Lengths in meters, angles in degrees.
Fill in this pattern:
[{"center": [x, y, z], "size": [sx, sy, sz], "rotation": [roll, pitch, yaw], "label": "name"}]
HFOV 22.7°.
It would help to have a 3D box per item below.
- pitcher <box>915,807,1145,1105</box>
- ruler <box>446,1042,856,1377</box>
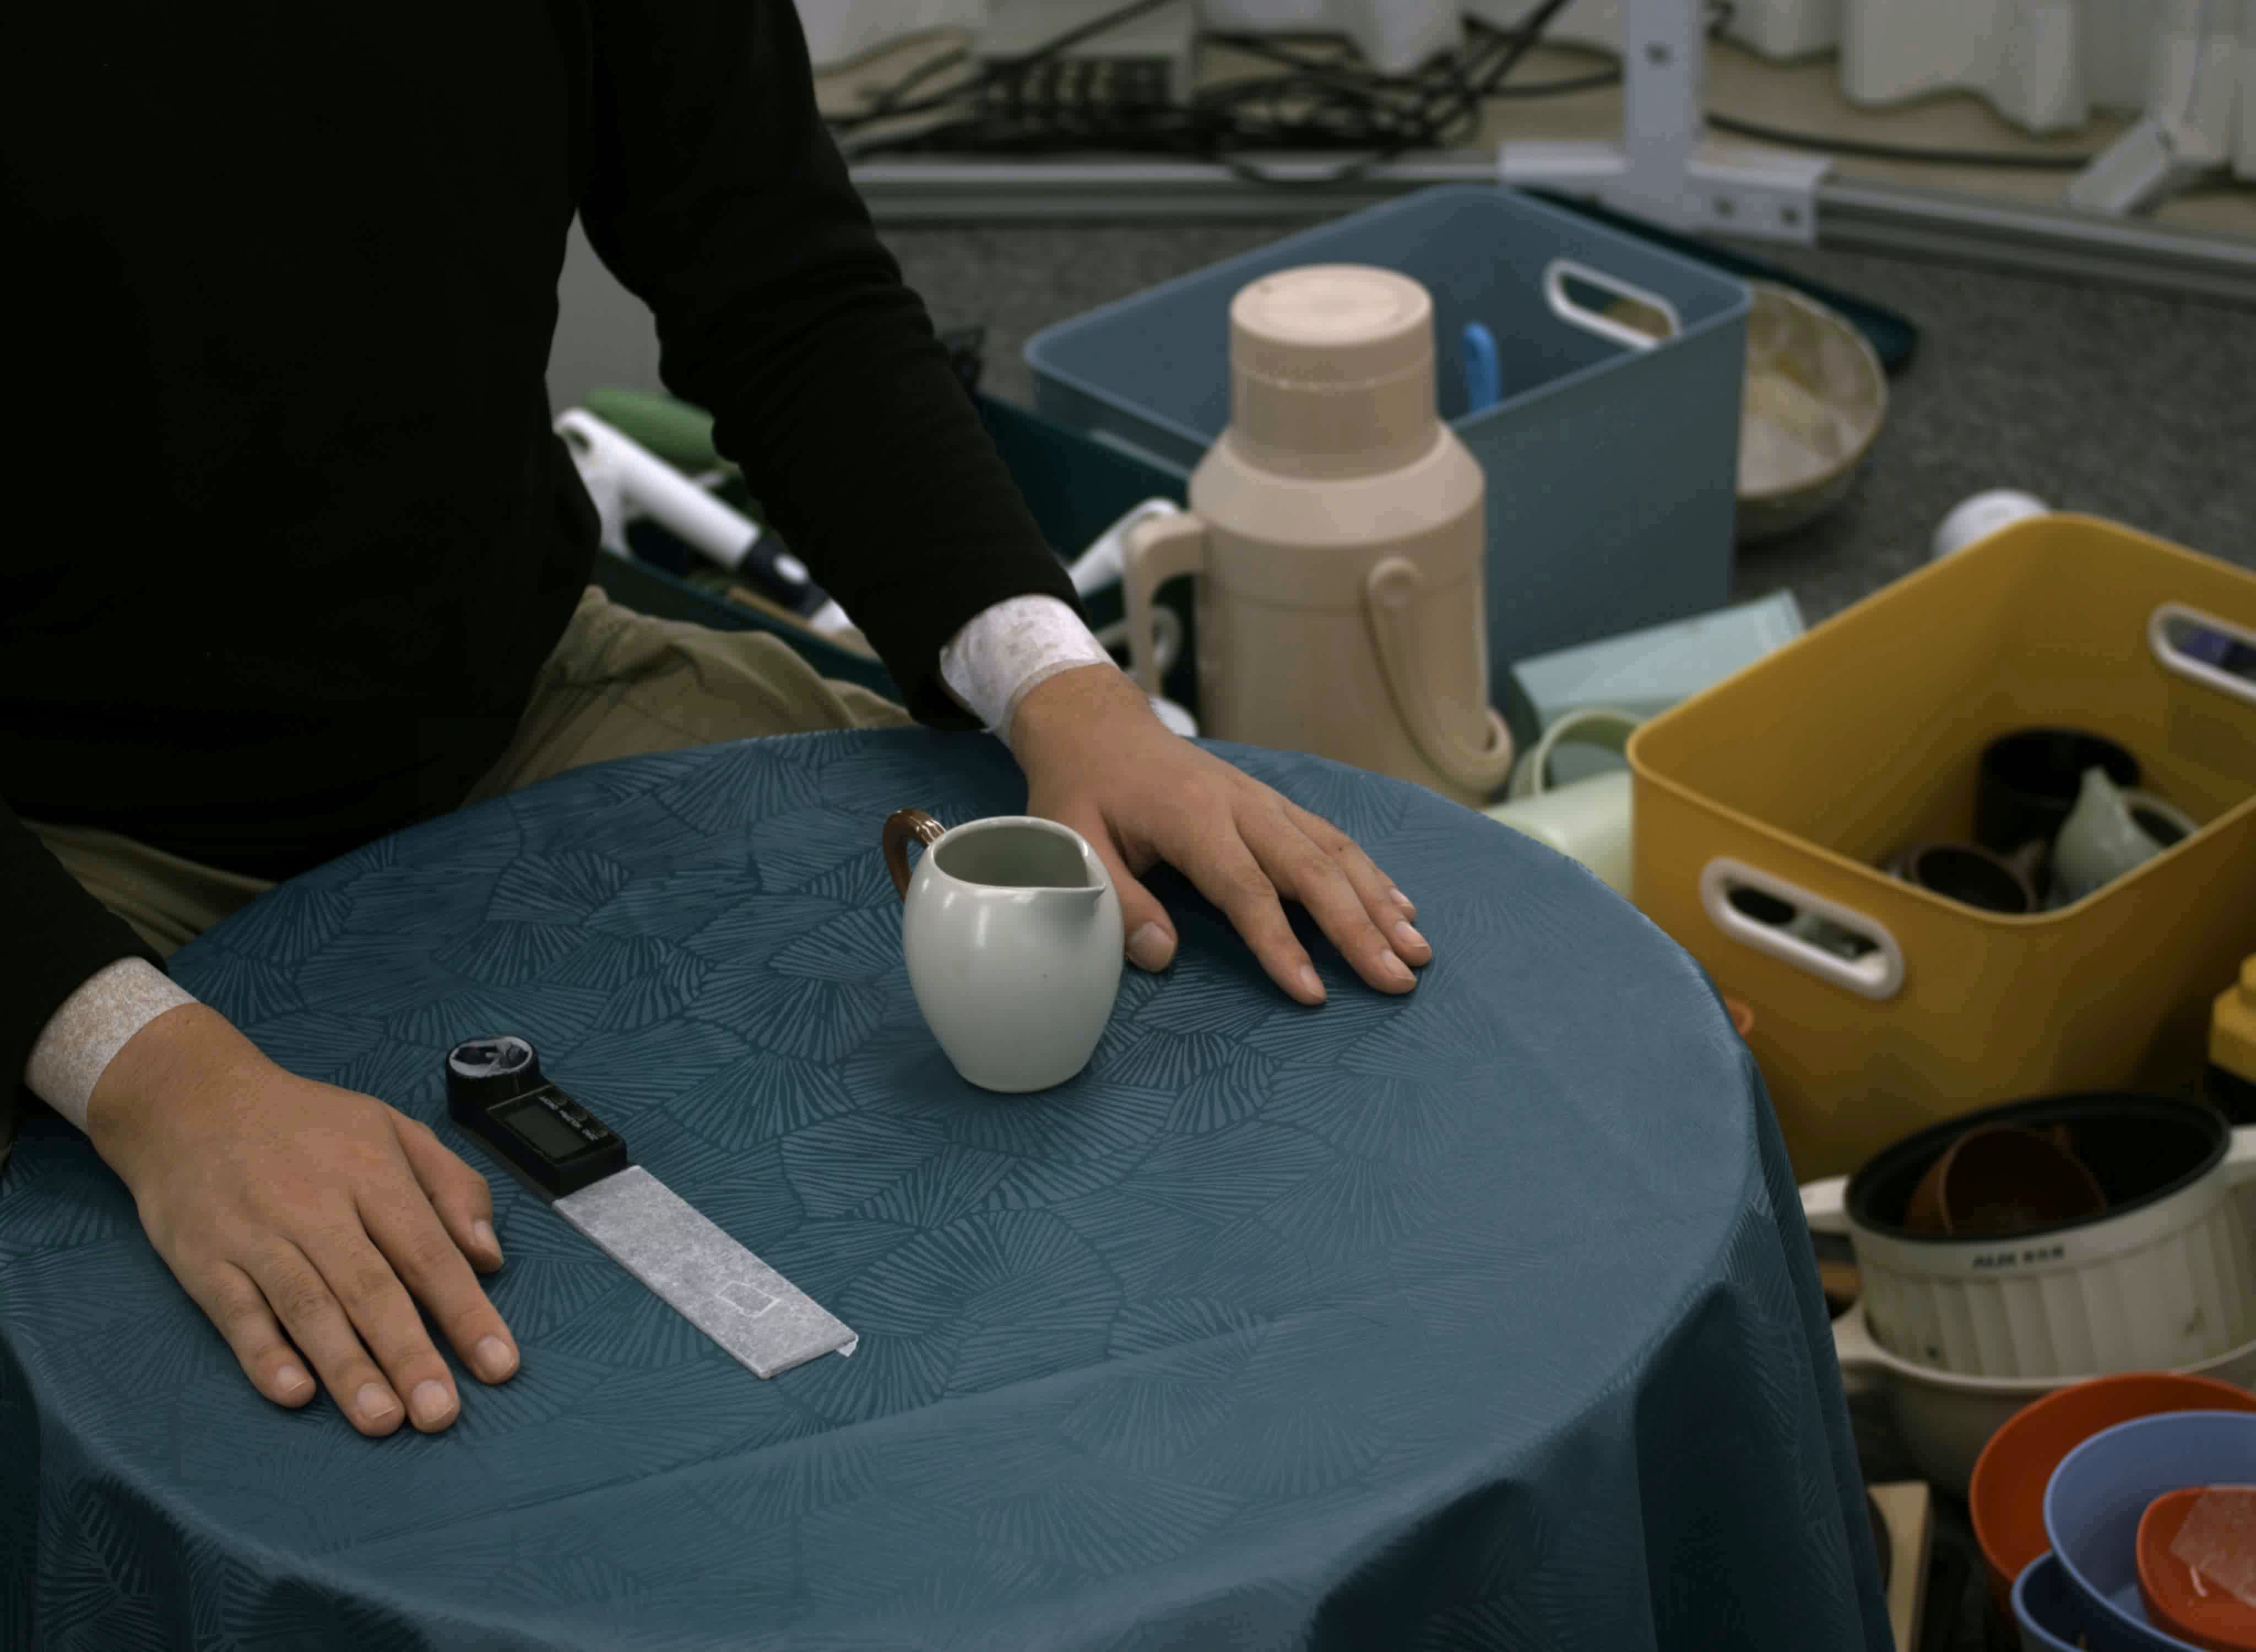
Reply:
[{"center": [-0.037, 0.044, 1.921], "size": [0.076, 0.087, 0.119], "rotation": [-17, 32, -33], "label": "pitcher"}, {"center": [-0.163, 0.123, 1.851], "size": [0.038, 0.024, 0.218], "rotation": [-26, 33, -26], "label": "ruler"}]
